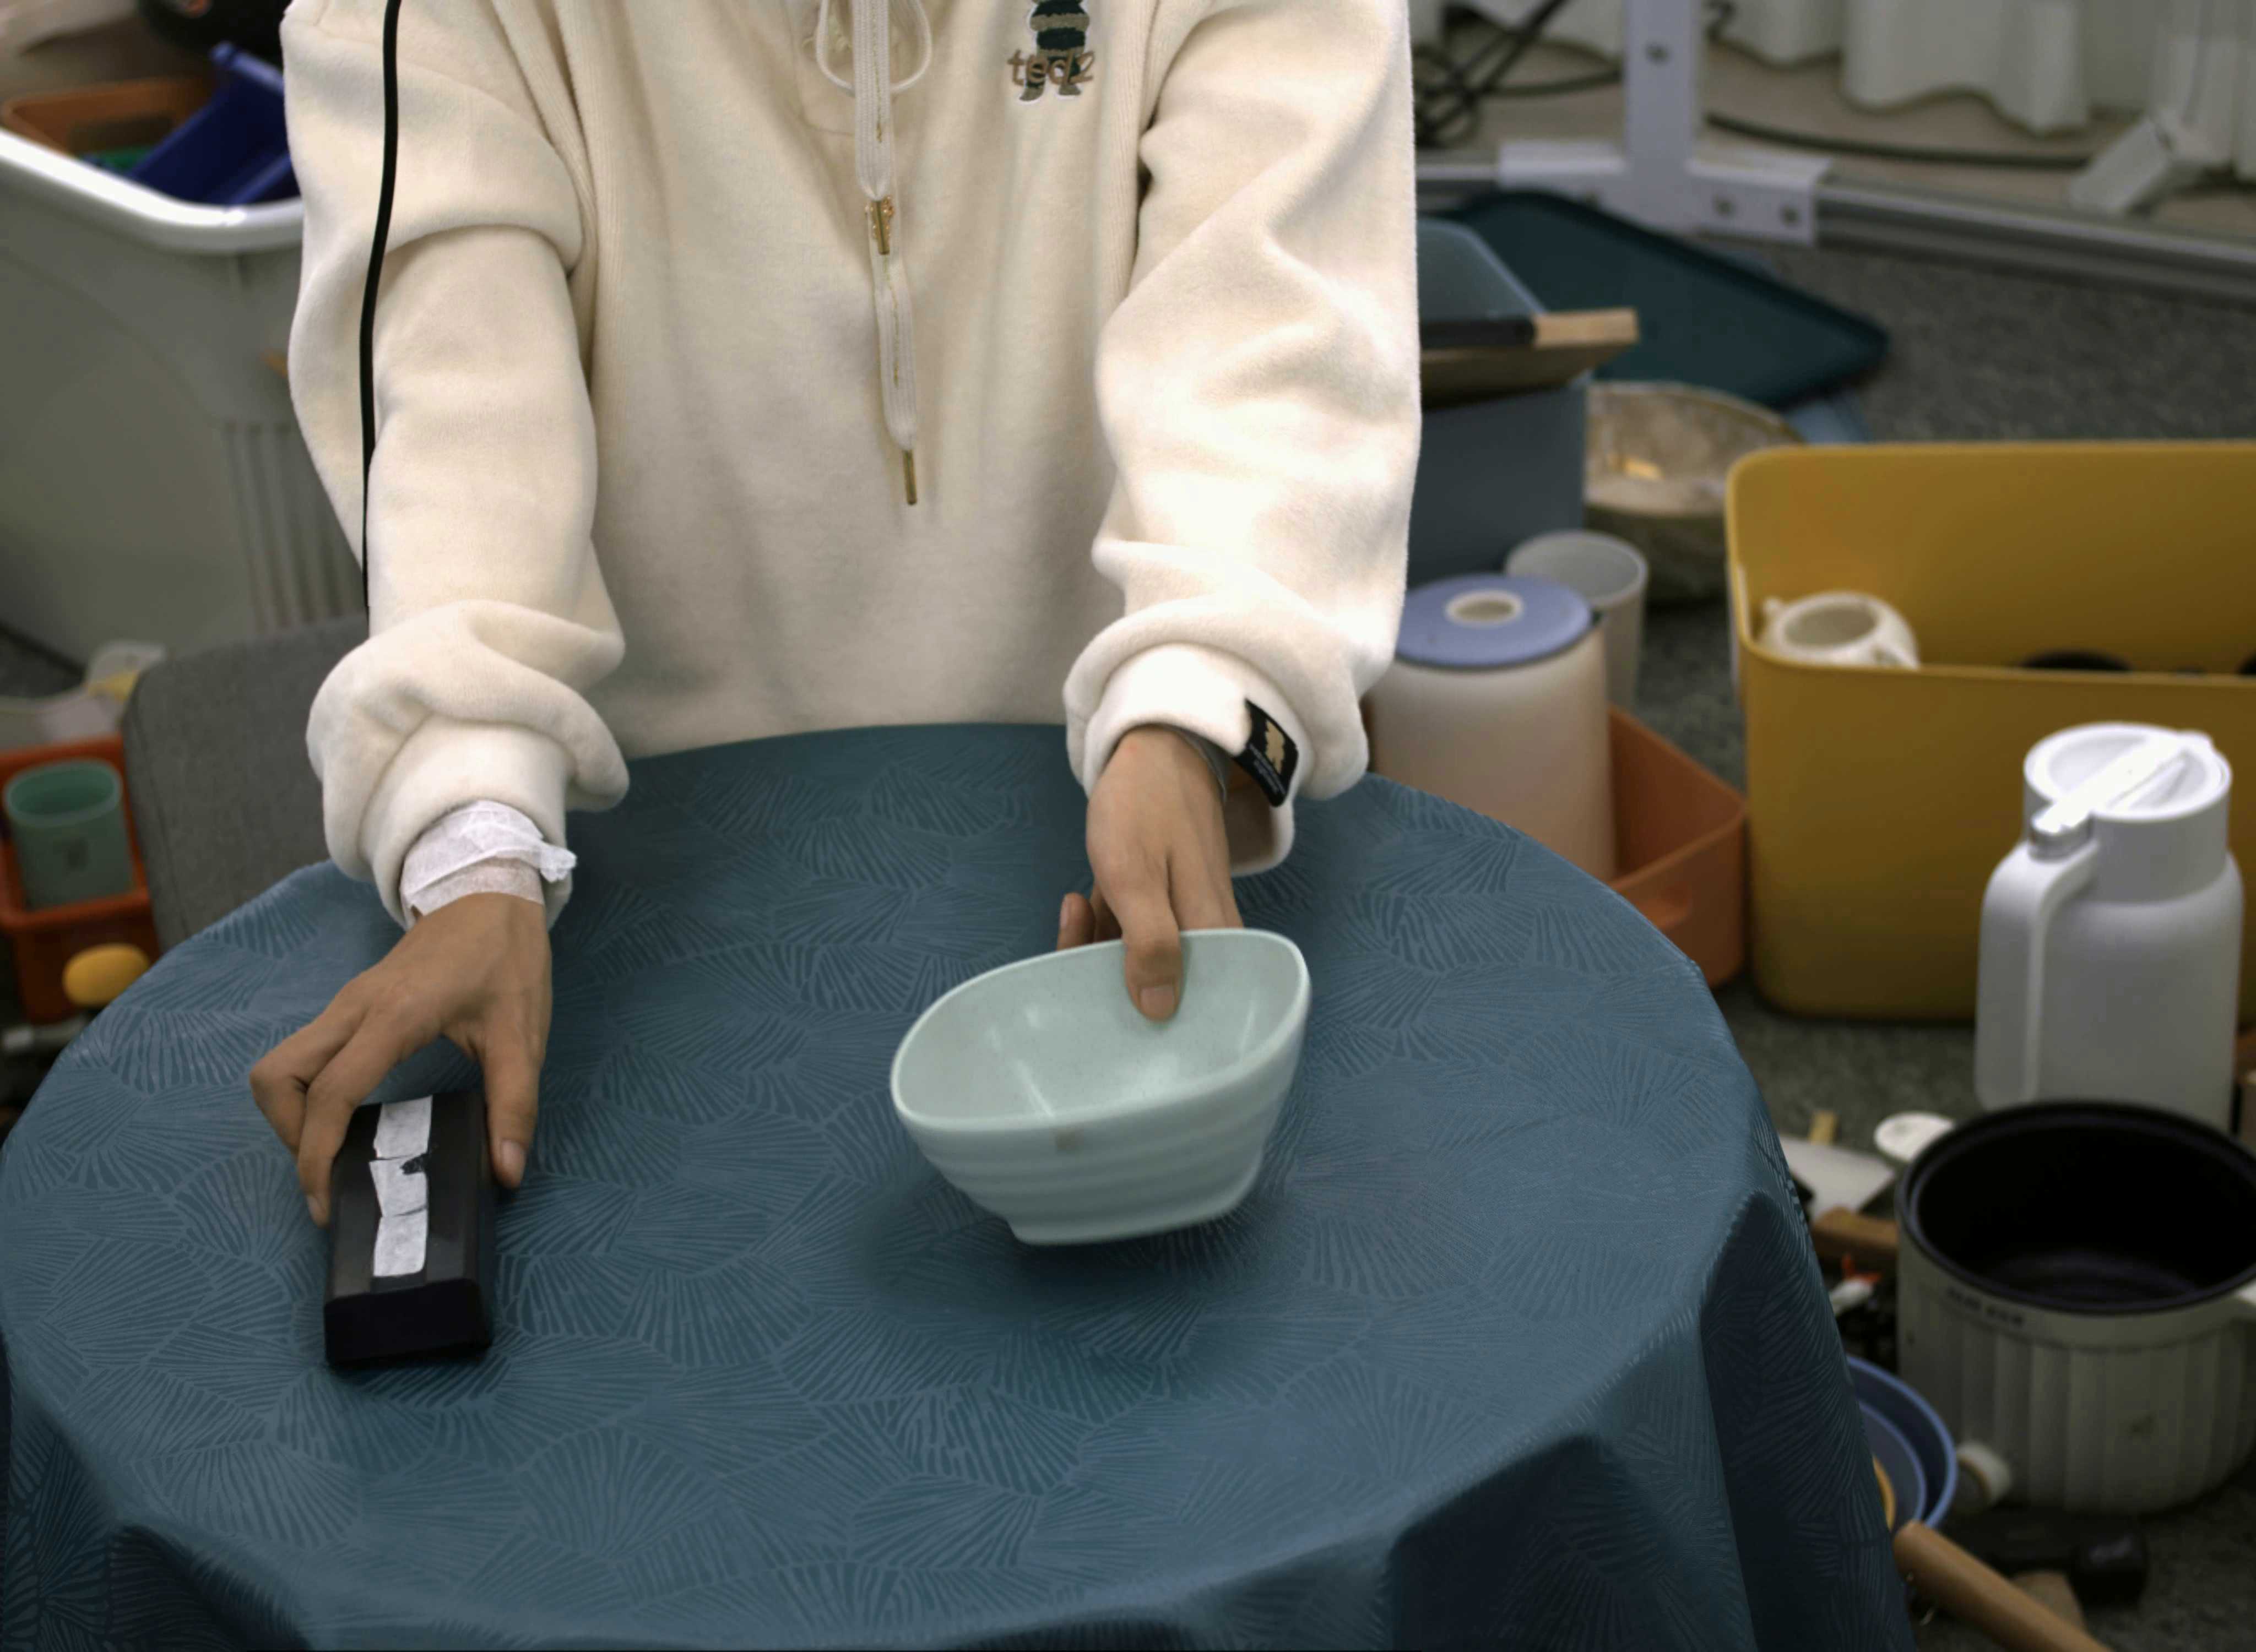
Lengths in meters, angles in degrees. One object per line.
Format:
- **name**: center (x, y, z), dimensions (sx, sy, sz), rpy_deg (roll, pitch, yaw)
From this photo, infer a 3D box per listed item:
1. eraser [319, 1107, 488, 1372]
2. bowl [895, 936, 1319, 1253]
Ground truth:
- **eraser**: center (-0.235, 0.134, 1.830), dimensions (0.053, 0.030, 0.127), rpy_deg (-7, 25, -4)
- **bowl**: center (-0.003, 0.093, 1.834), dimensions (0.150, 0.058, 0.153), rpy_deg (-8, 24, 4)
